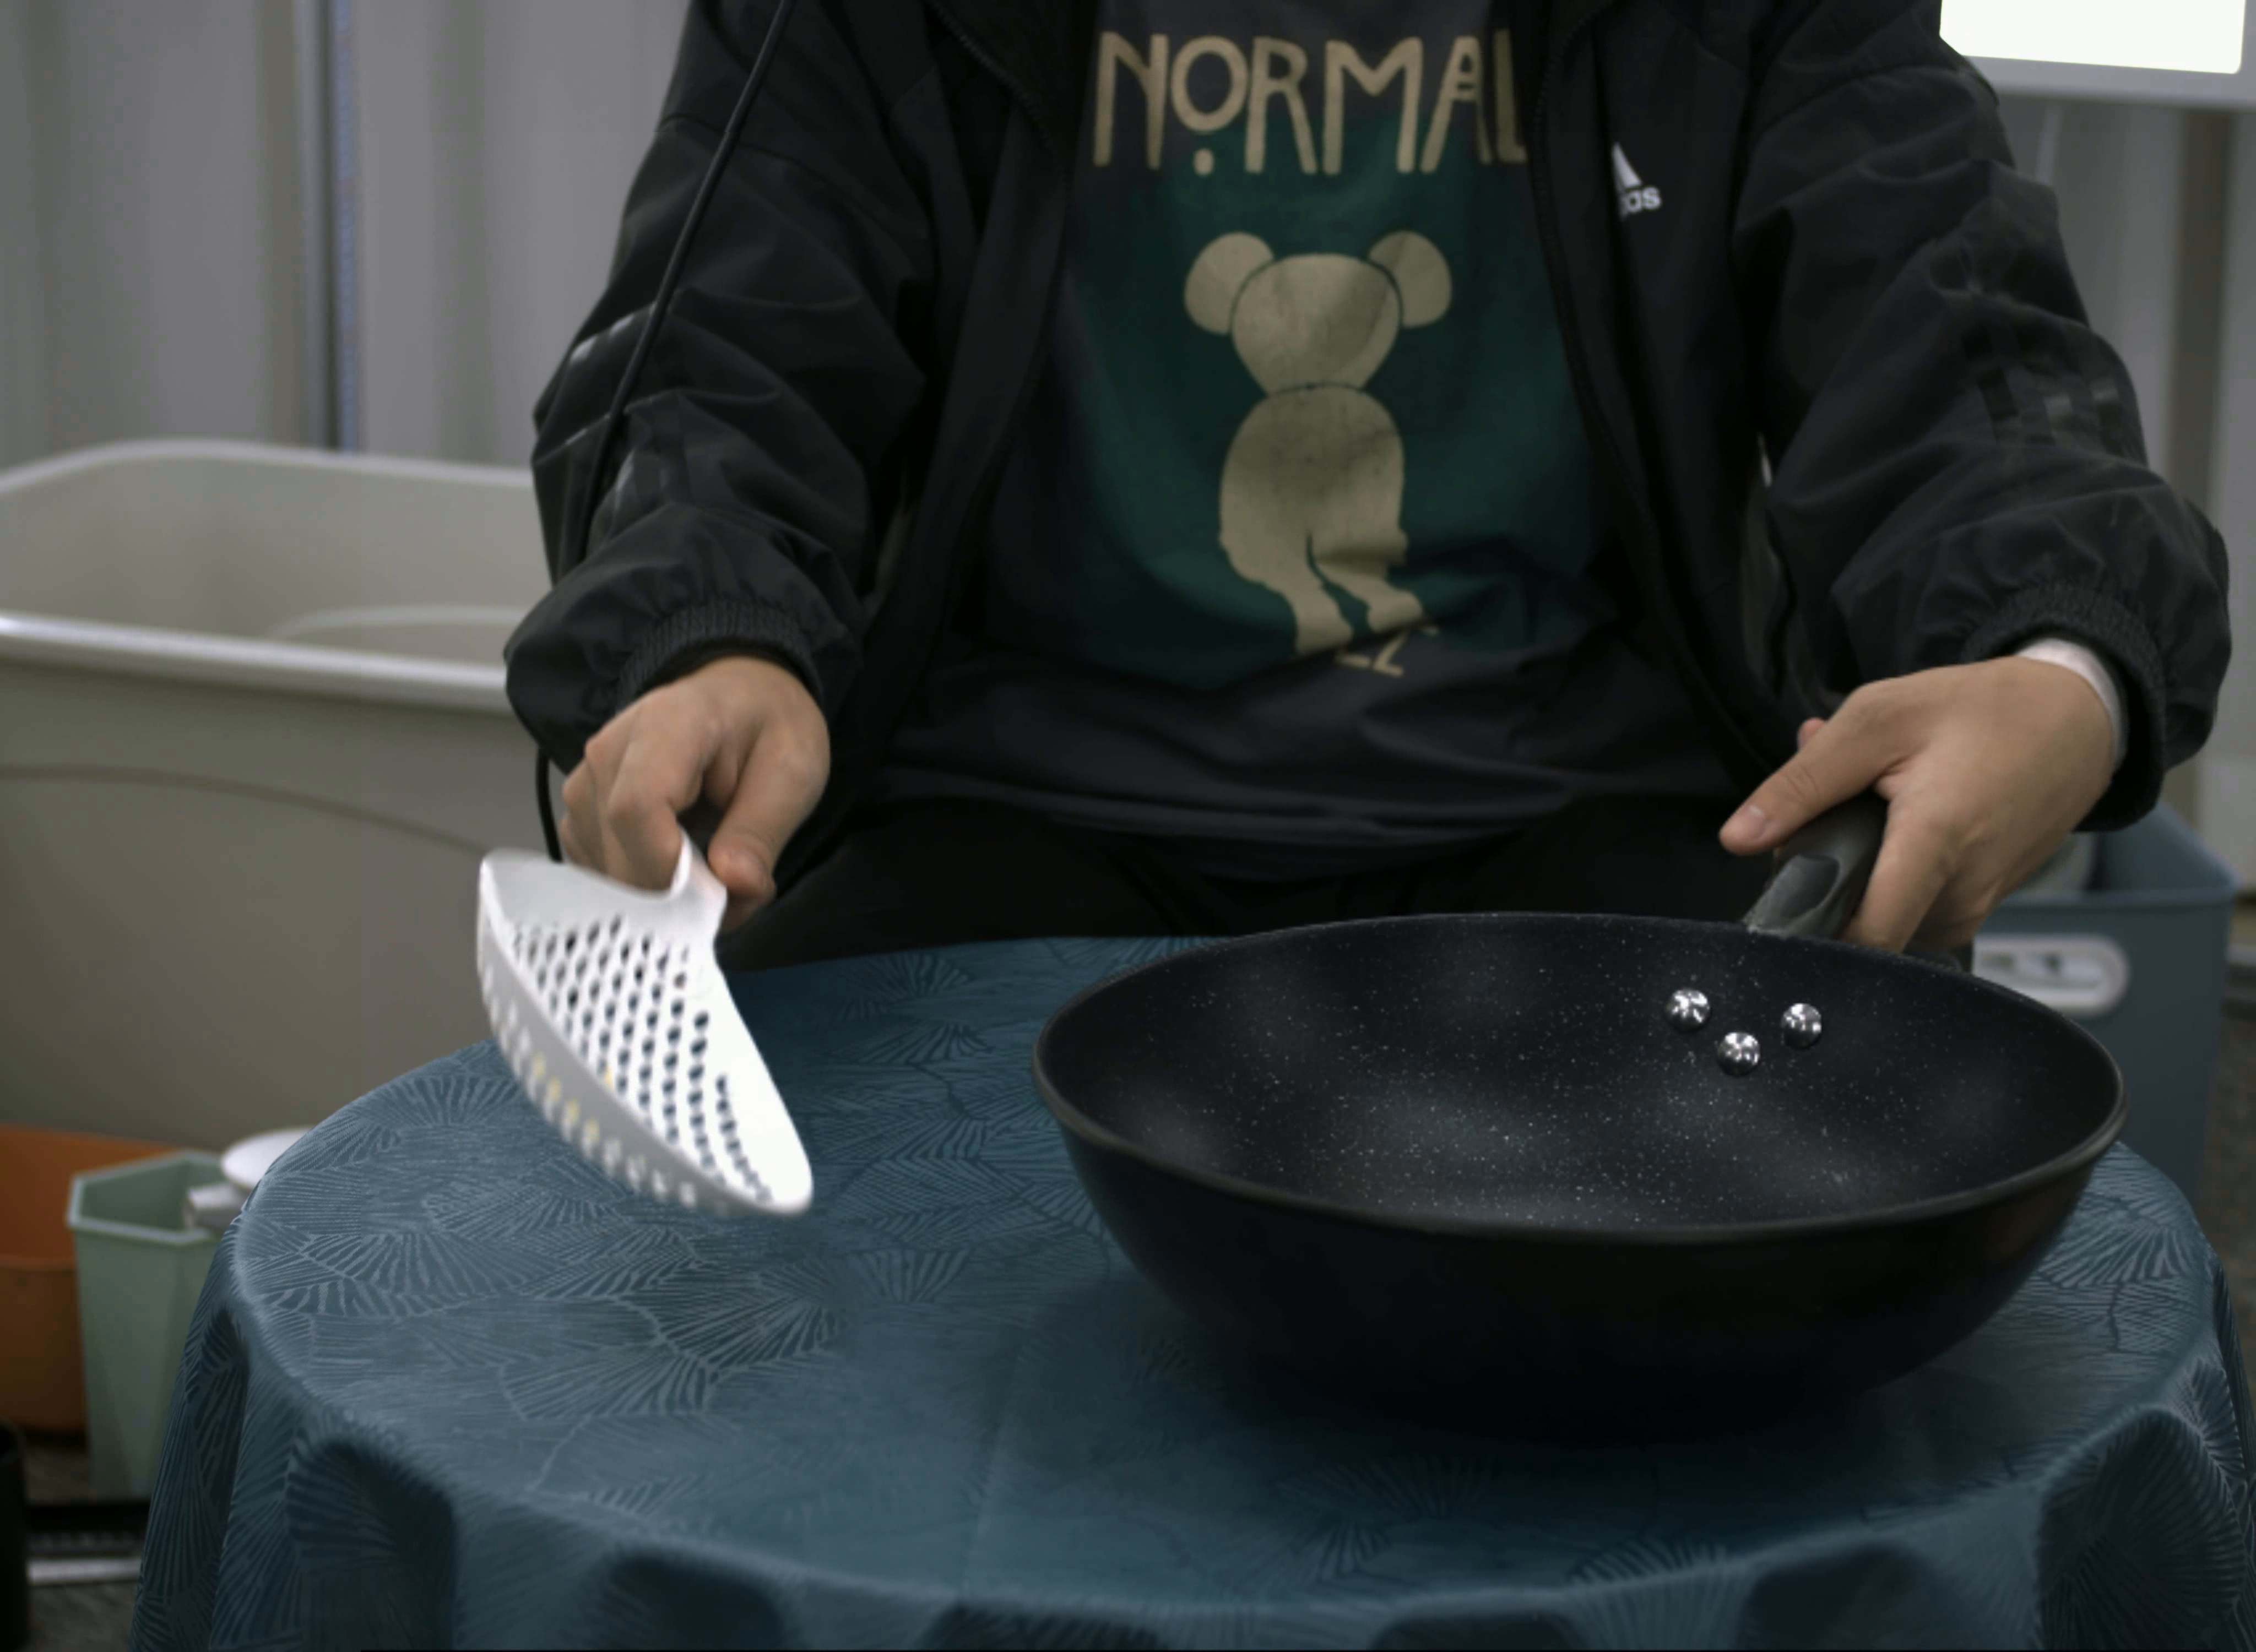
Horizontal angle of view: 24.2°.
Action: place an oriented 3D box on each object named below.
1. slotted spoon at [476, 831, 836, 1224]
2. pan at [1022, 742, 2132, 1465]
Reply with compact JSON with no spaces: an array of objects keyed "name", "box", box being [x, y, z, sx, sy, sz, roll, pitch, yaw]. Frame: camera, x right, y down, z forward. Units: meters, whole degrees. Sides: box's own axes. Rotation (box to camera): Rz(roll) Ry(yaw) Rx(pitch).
[{"name":"slotted spoon","box":[-0.143,0.044,1.601,0.137,0.050,0.346,44,13,-10]},{"name":"pan","box":[0.161,0.079,1.555,0.307,0.112,0.478,9,17,24]}]
